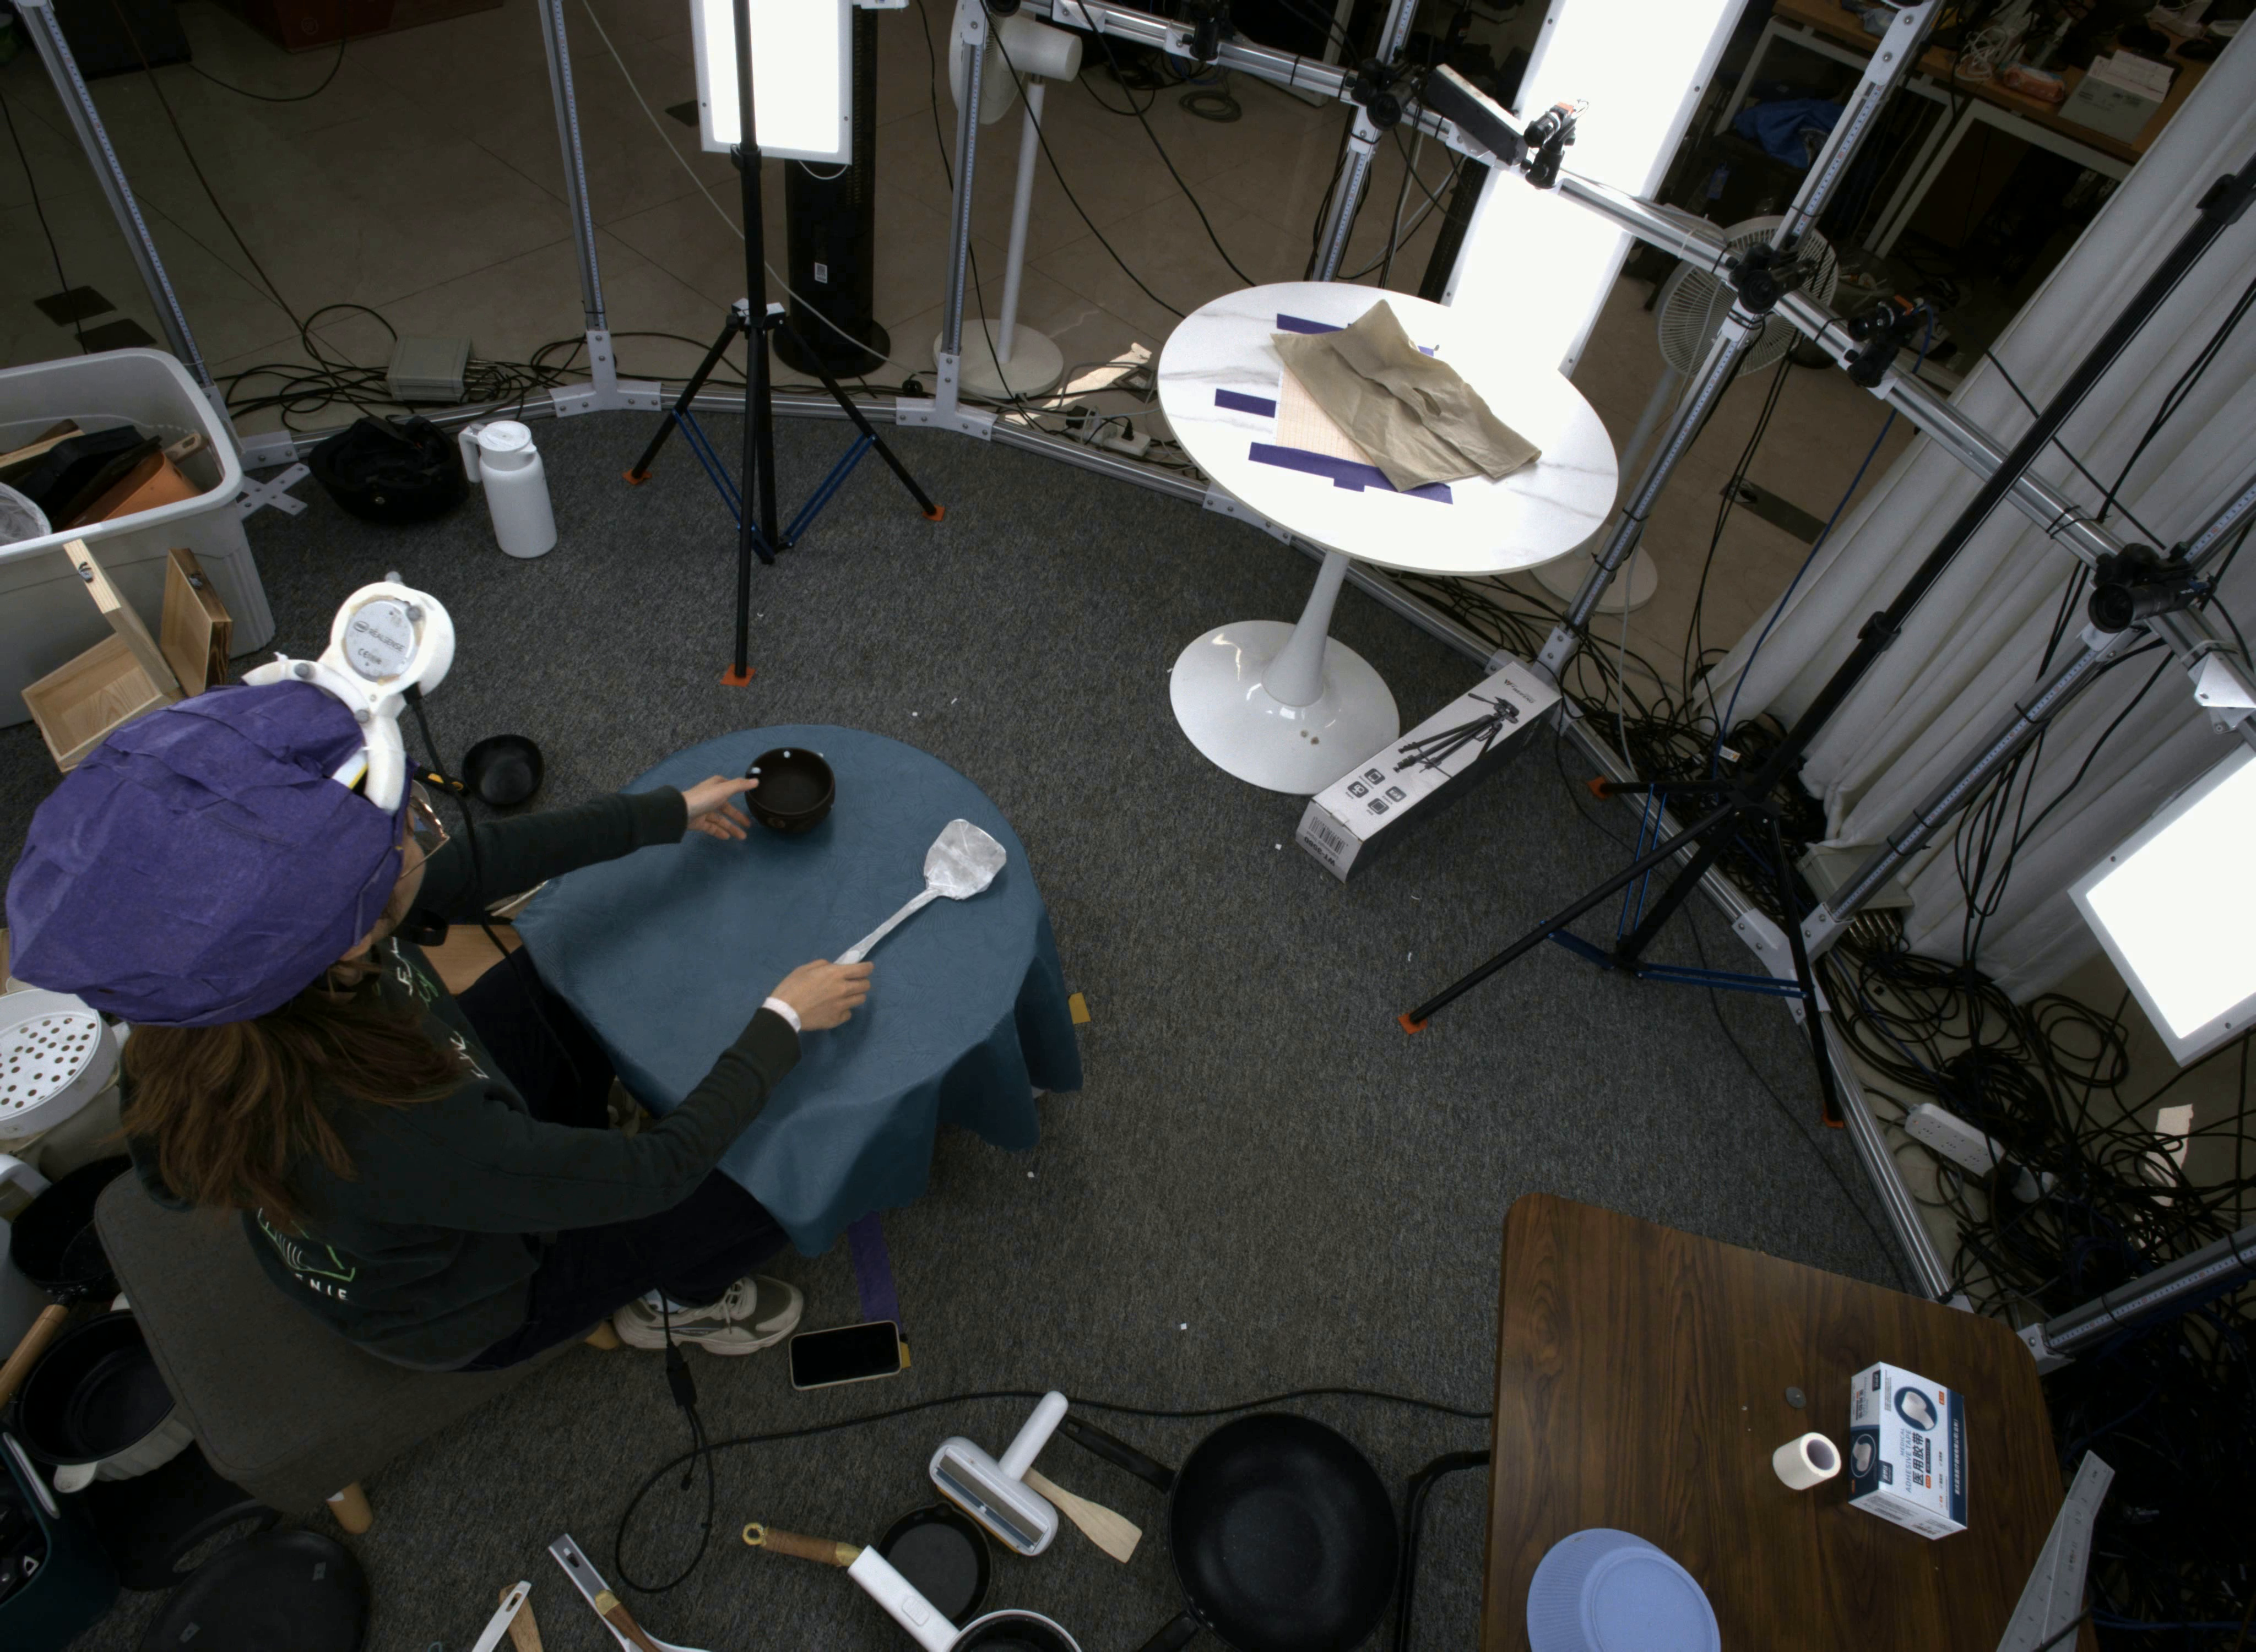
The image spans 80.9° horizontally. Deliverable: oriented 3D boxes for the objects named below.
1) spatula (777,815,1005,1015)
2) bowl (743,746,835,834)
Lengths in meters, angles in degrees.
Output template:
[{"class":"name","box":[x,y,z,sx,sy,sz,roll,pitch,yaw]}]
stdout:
[{"class":"spatula","box":[-0.302,0.117,1.648,0.097,0.045,0.365,38,54,13]},{"class":"bowl","box":[-0.446,-0.040,1.708,0.117,0.071,0.116,6,54,-7]}]
